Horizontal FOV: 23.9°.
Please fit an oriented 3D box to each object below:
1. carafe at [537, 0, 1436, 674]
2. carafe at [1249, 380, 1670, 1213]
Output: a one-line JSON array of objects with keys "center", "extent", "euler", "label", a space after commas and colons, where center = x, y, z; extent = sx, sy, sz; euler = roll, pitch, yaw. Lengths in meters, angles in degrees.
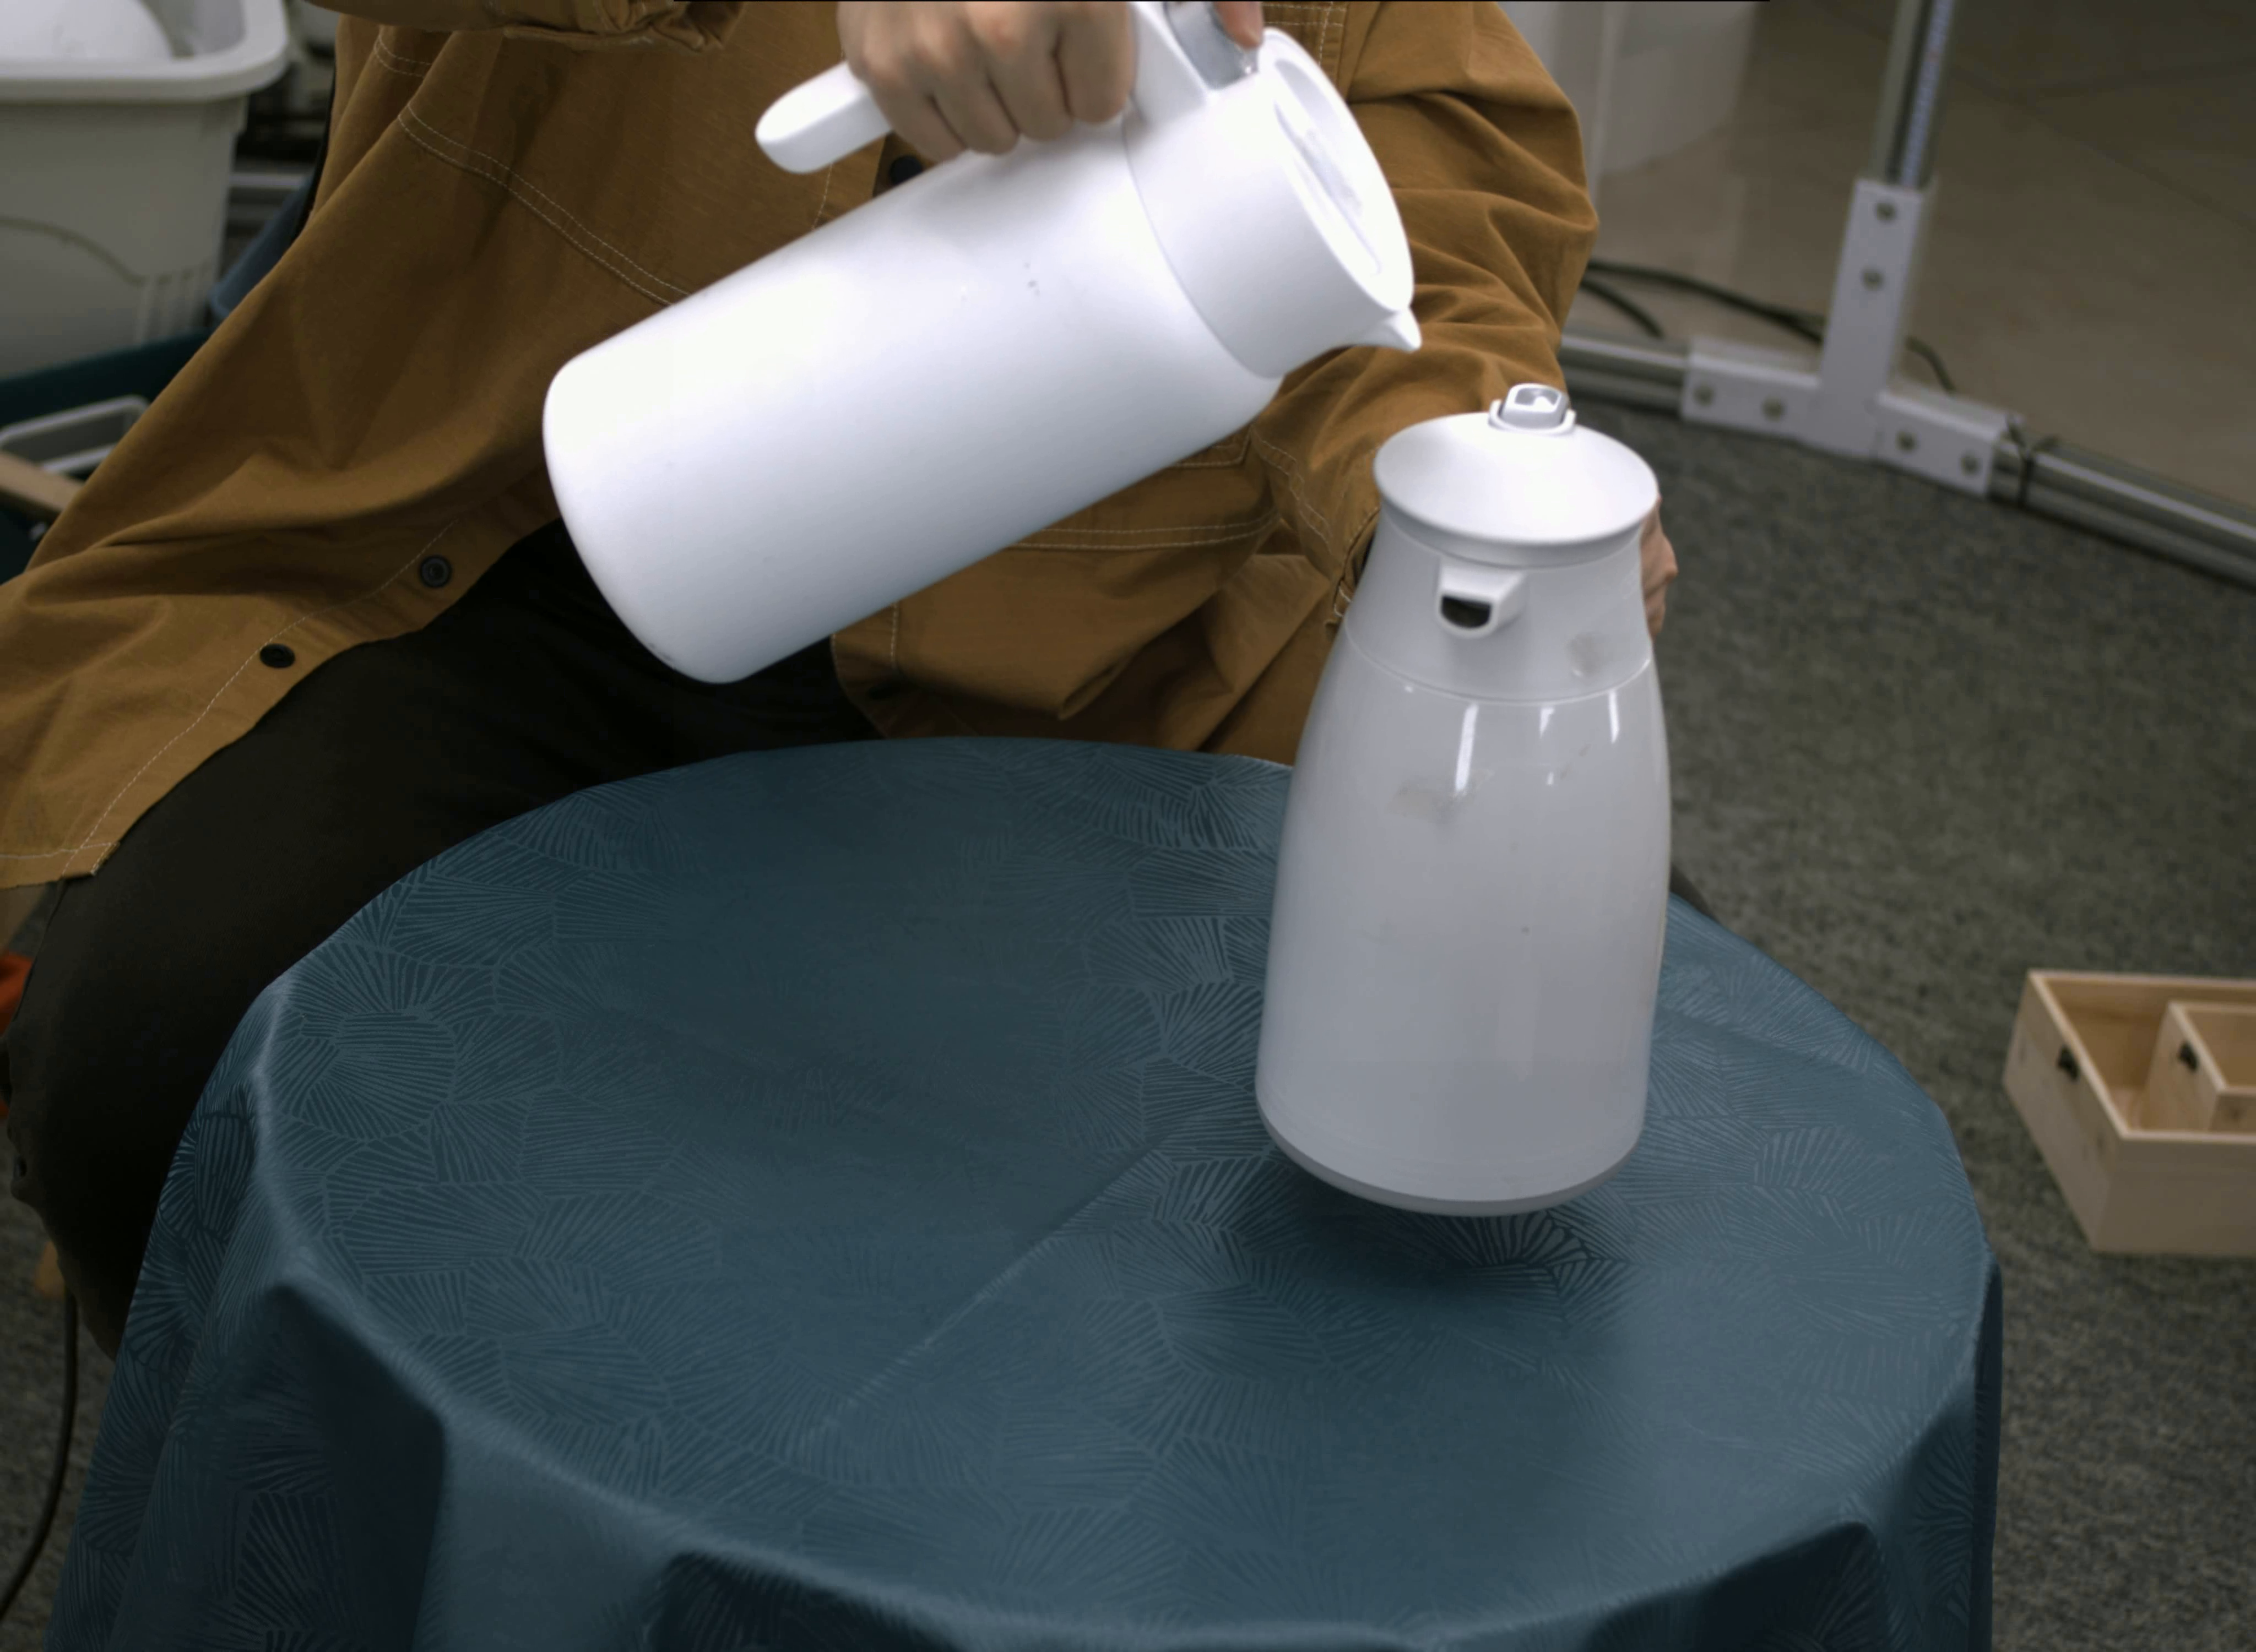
[{"center": [-0.059, -0.163, 1.673], "extent": [0.269, 0.171, 0.124], "euler": [-24, 31, 22], "label": "carafe"}, {"center": [0.119, -0.021, 1.760], "extent": [0.132, 0.248, 0.168], "euler": [10, 29, 12], "label": "carafe"}]
